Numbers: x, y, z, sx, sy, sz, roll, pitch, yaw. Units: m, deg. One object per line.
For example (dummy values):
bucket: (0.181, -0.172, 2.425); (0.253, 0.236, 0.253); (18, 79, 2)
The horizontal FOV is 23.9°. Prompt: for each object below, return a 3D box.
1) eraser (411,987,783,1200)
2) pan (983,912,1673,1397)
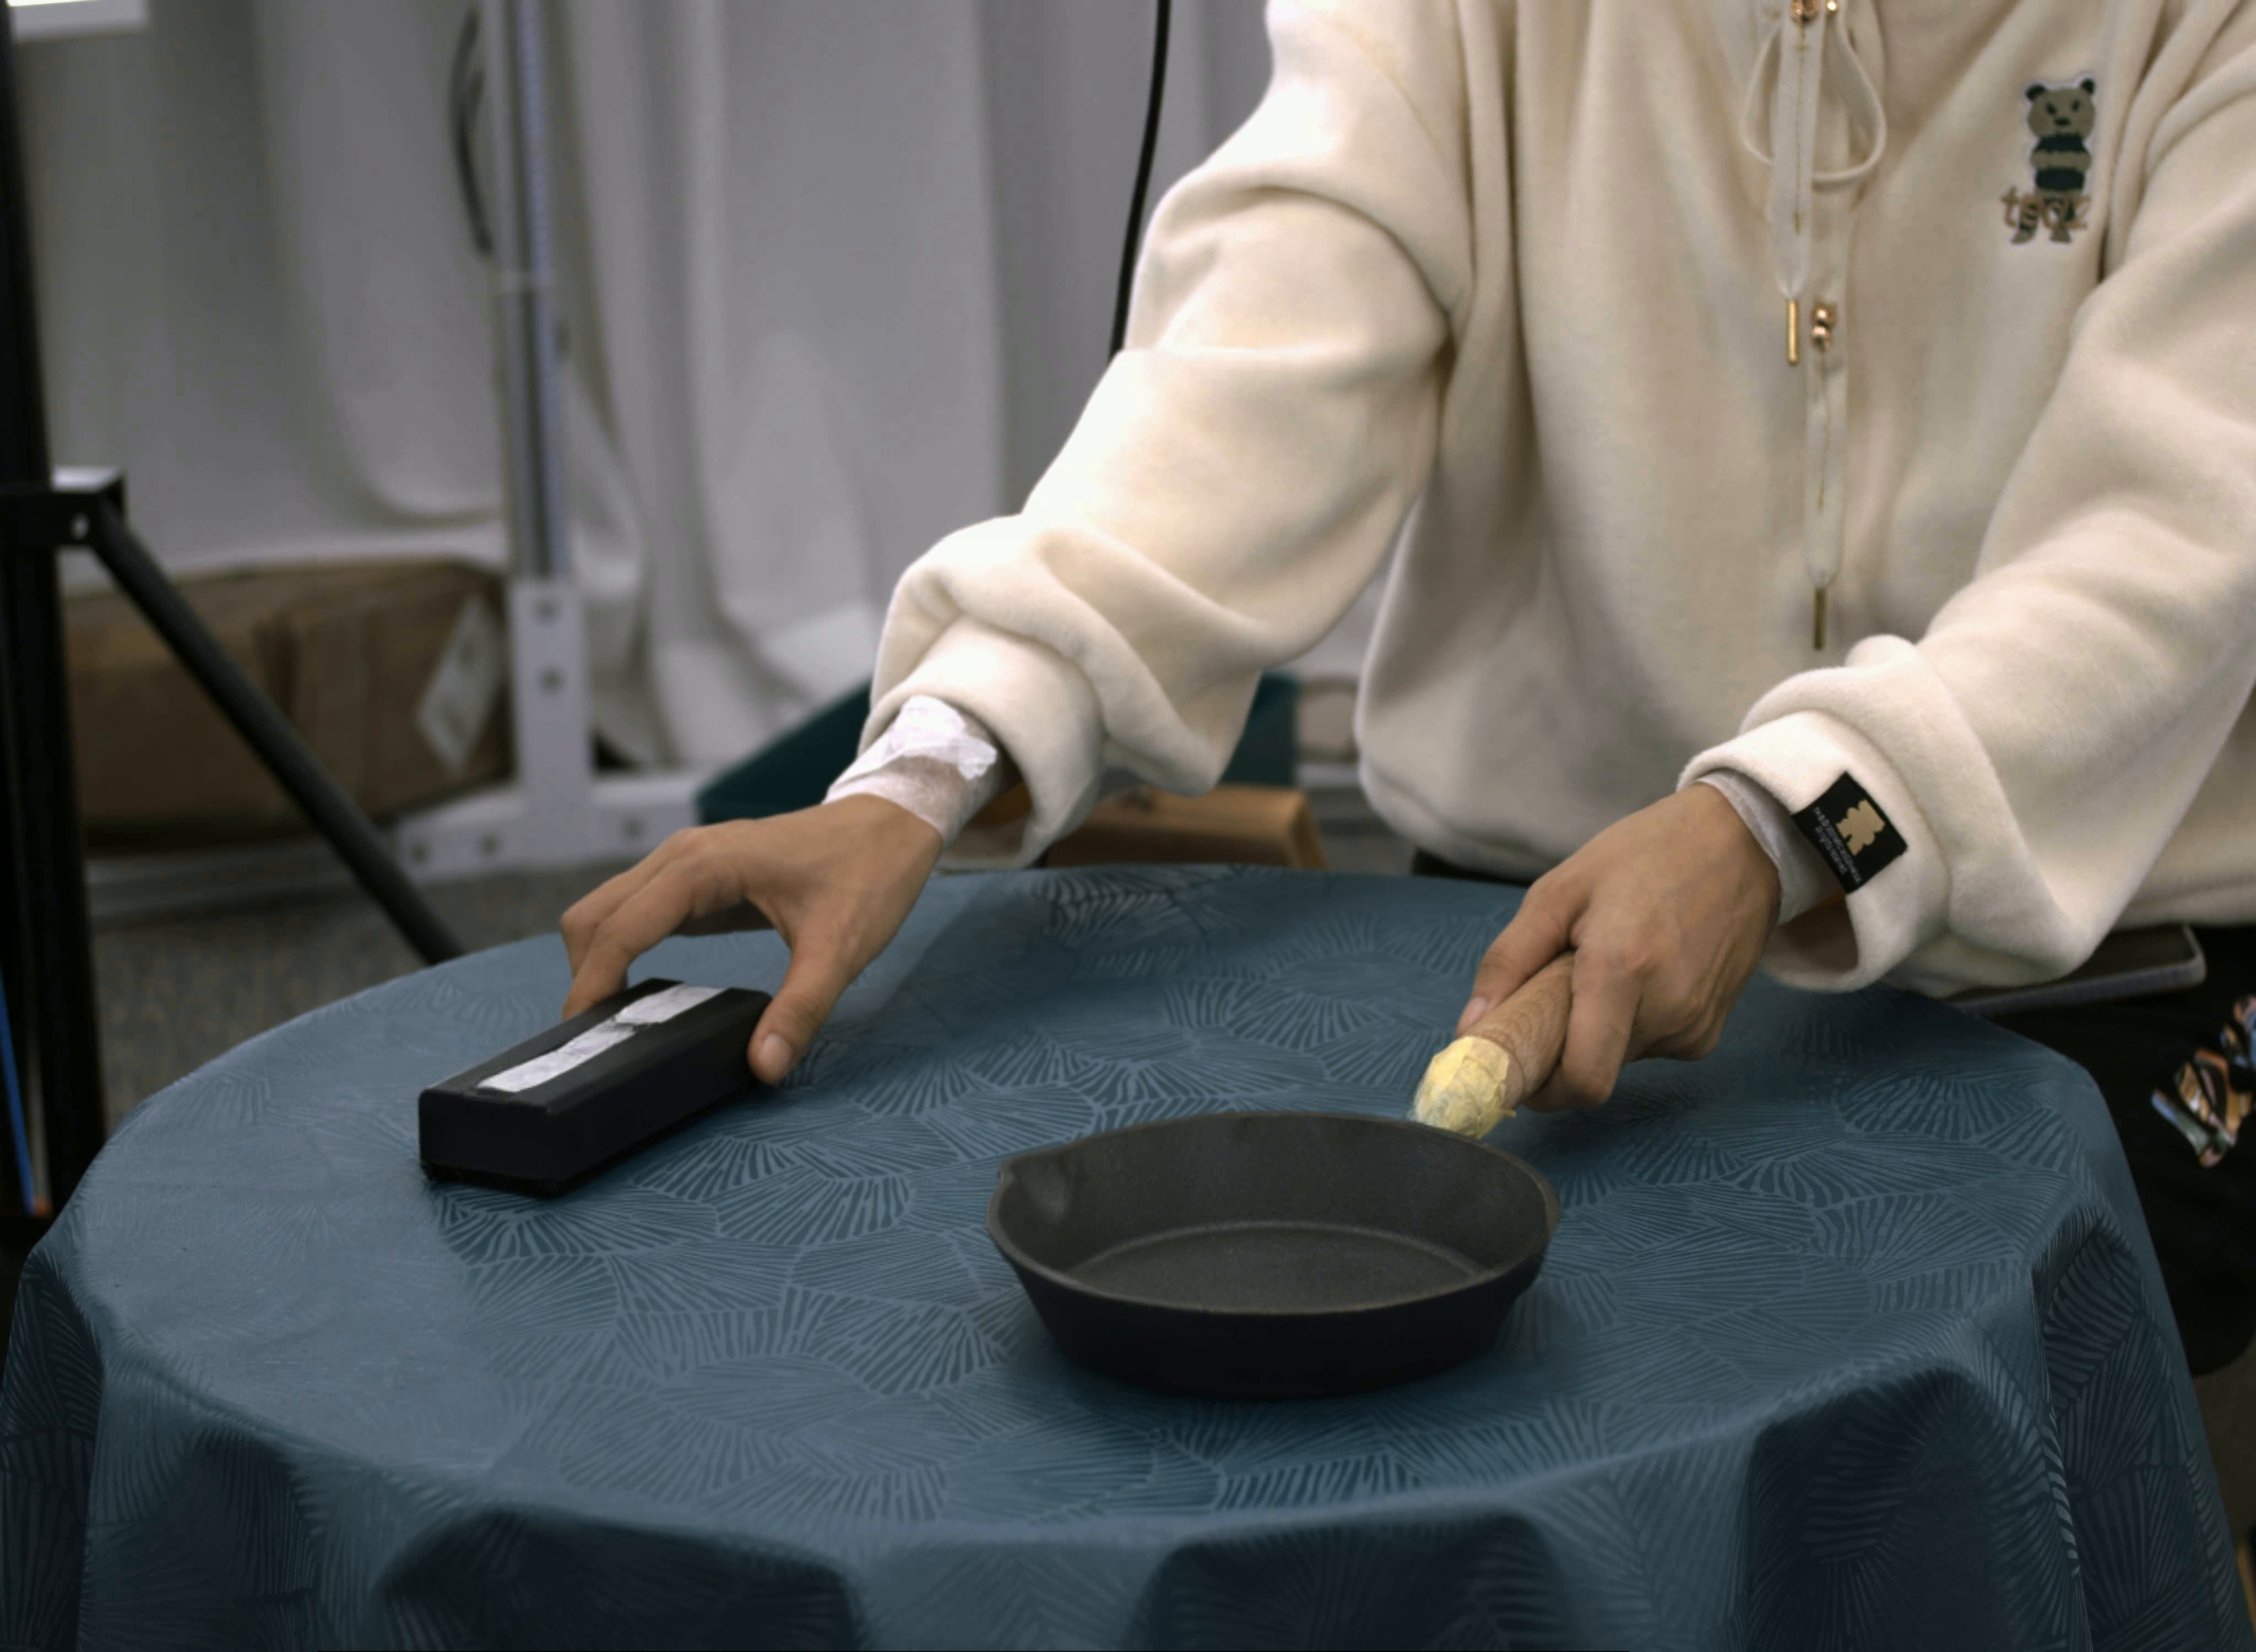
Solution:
eraser: (-0.161, 0.081, 1.631); (0.054, 0.030, 0.123); (7, 17, 31)
pan: (0.083, 0.090, 1.510); (0.172, 0.049, 0.318); (7, 19, 31)
